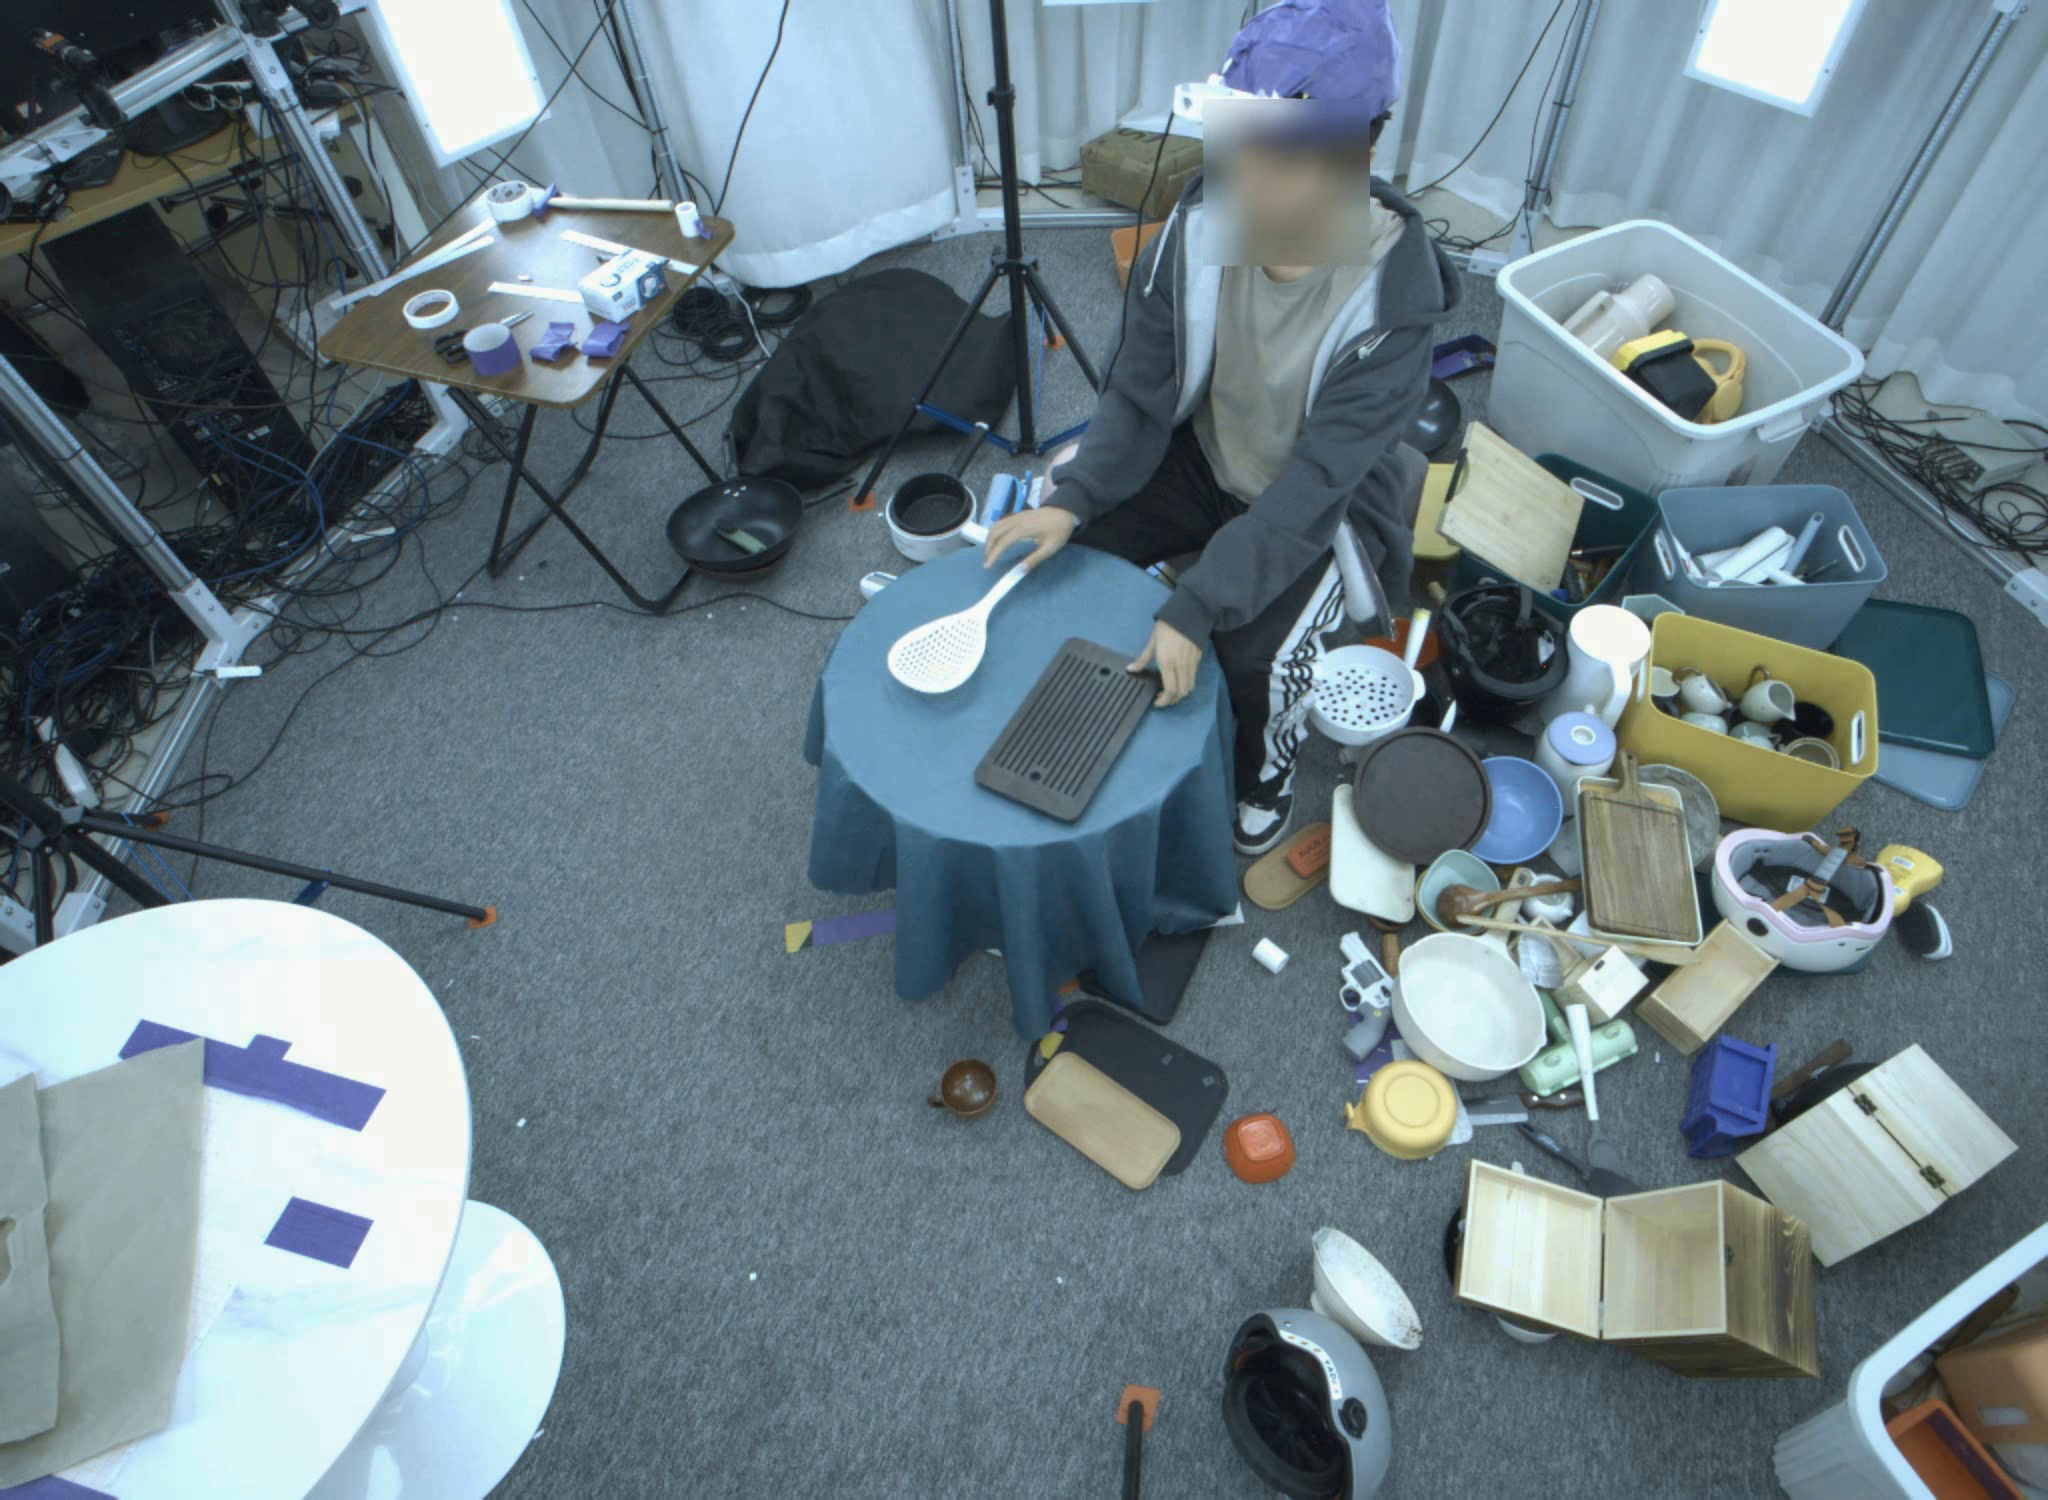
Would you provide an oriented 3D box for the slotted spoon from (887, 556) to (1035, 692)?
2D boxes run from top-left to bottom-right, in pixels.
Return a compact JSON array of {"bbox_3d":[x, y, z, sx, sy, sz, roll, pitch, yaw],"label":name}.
[{"bbox_3d":[-0.075,-0.206,1.913,0.134,0.051,0.349,25,59,21],"label":"slotted spoon"}]

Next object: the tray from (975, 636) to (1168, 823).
[{"bbox_3d":[0.073,-0.034,1.801,0.168,0.019,0.306,23,59,17],"label":"tray"}]
